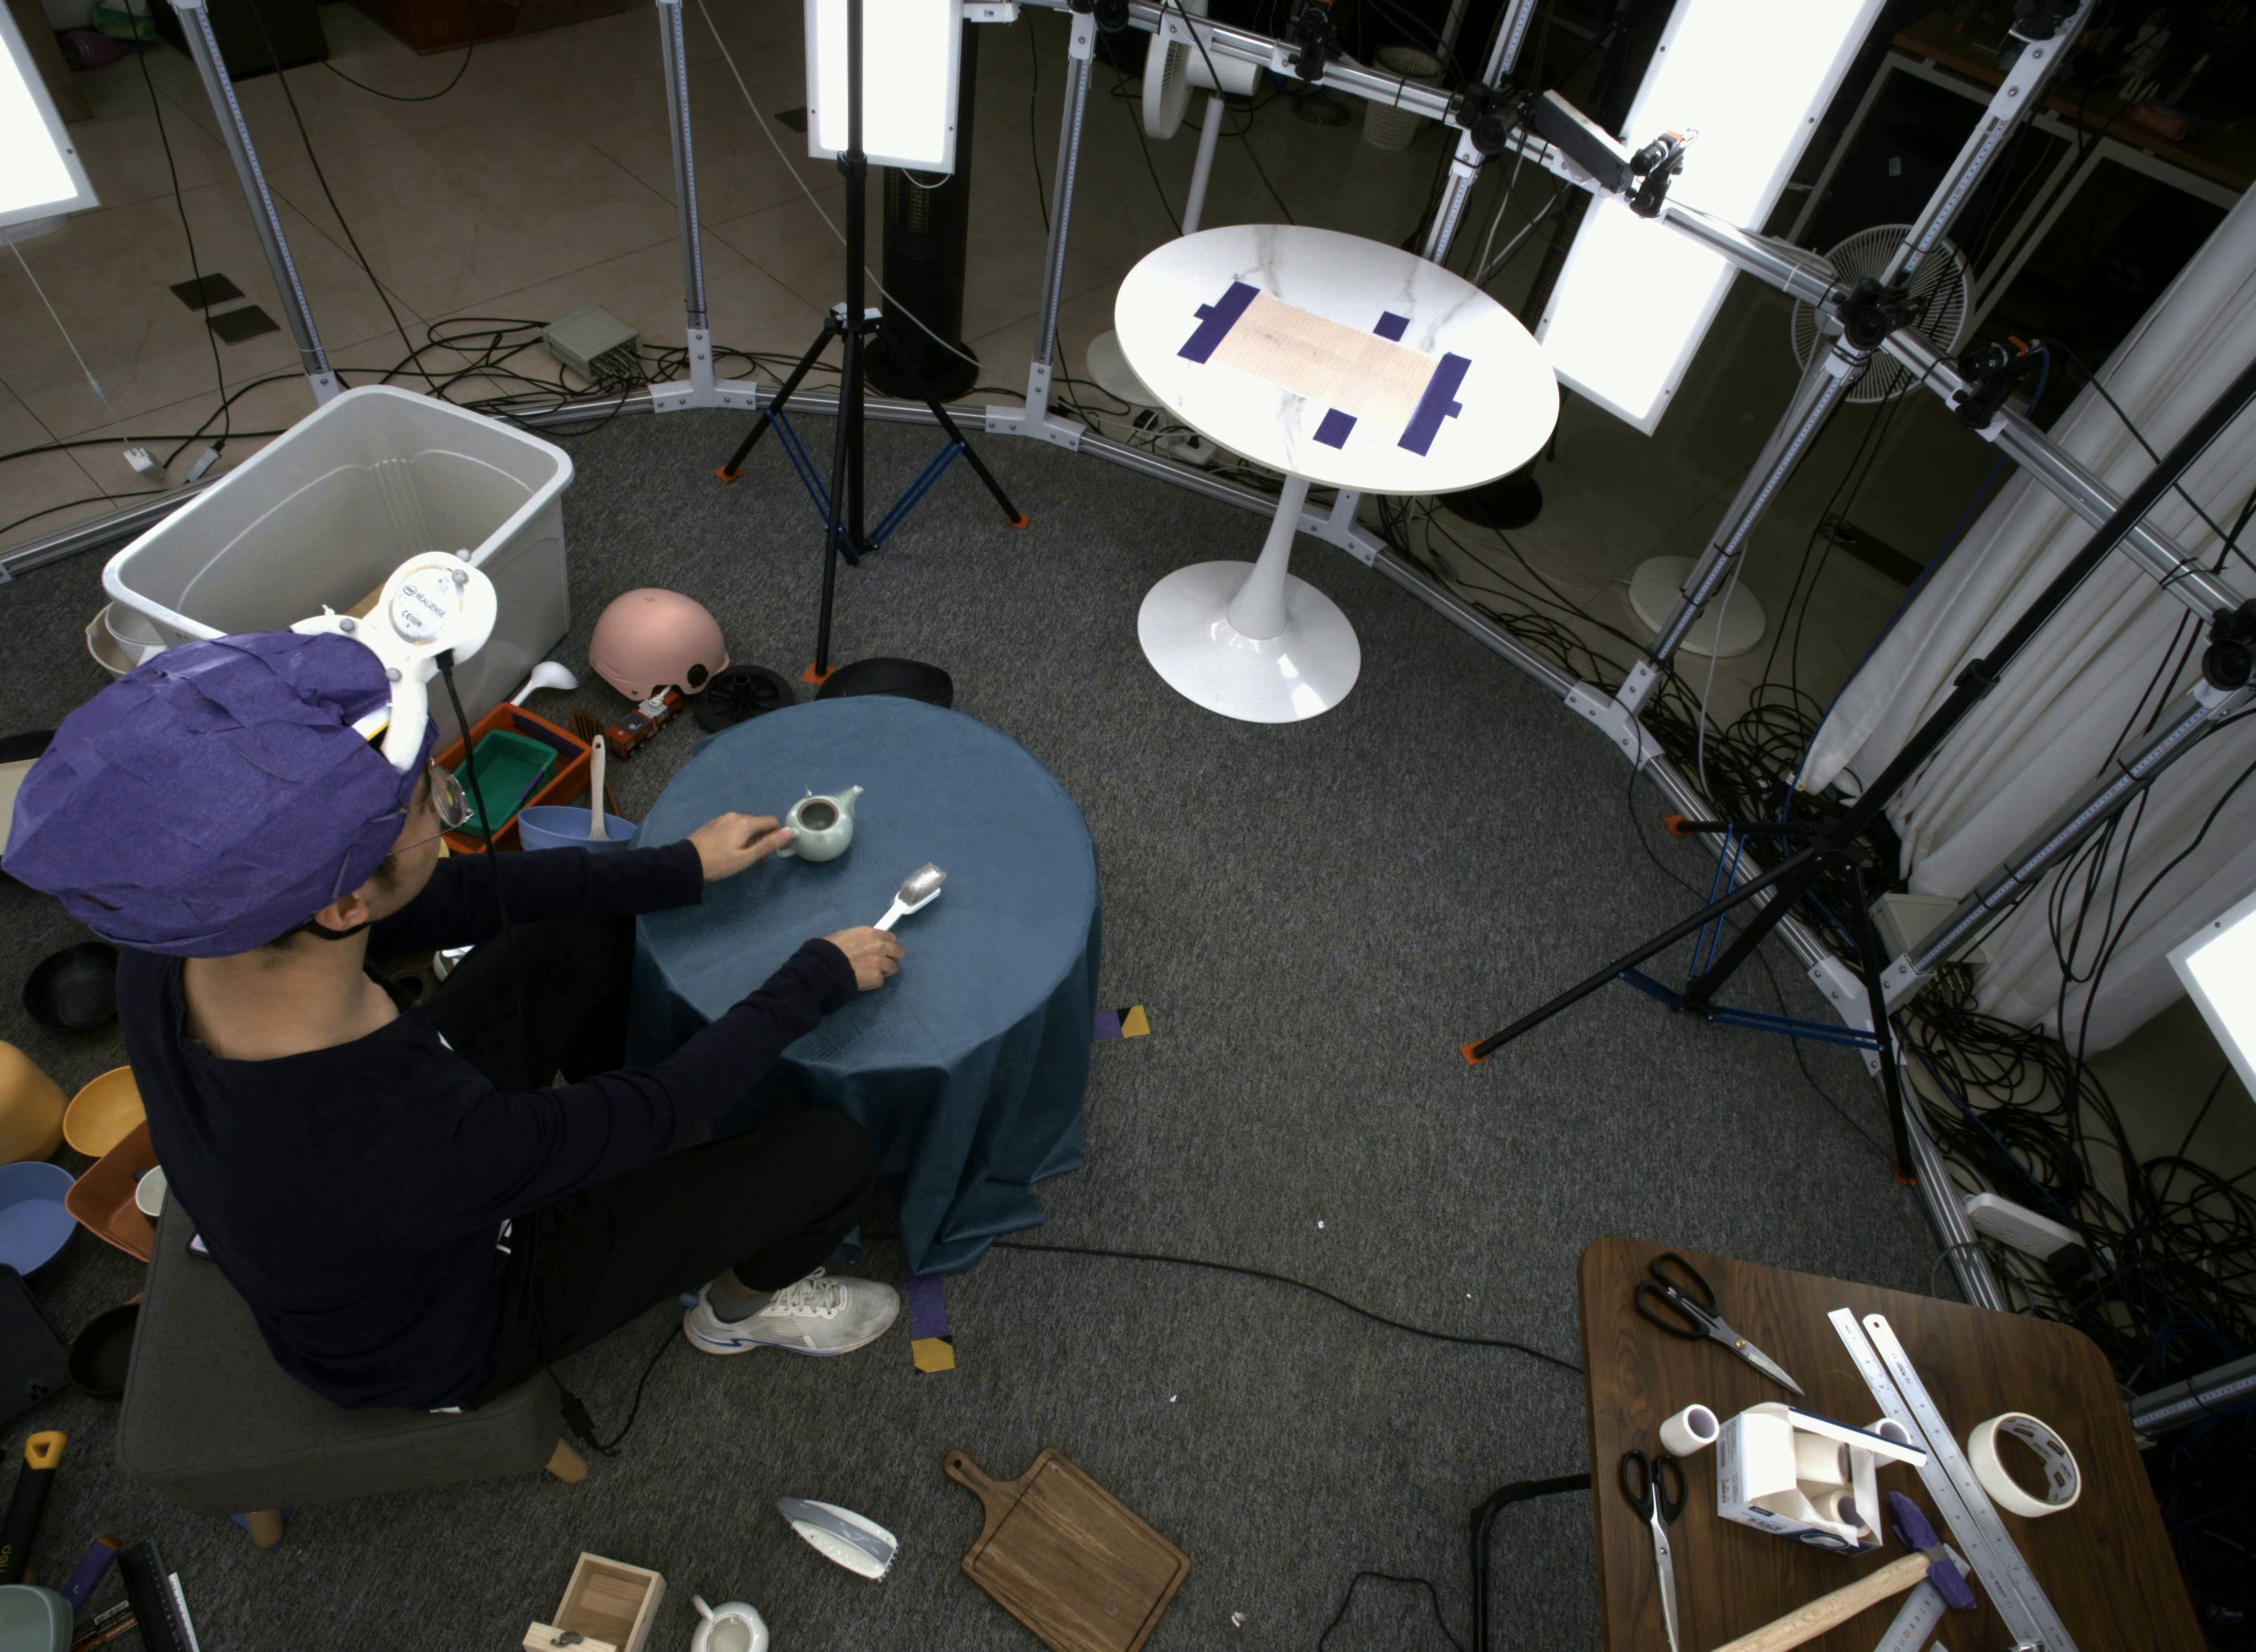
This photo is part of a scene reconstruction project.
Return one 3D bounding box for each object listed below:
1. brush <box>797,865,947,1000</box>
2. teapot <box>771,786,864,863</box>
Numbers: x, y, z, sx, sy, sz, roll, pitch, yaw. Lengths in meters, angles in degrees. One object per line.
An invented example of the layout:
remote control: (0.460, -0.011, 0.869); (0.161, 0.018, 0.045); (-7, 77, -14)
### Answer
brush: (-0.318, 0.128, 1.624); (0.034, 0.051, 0.244); (41, 54, 11)
teapot: (-0.402, 0.003, 1.683); (0.144, 0.076, 0.086); (-33, 67, -33)
